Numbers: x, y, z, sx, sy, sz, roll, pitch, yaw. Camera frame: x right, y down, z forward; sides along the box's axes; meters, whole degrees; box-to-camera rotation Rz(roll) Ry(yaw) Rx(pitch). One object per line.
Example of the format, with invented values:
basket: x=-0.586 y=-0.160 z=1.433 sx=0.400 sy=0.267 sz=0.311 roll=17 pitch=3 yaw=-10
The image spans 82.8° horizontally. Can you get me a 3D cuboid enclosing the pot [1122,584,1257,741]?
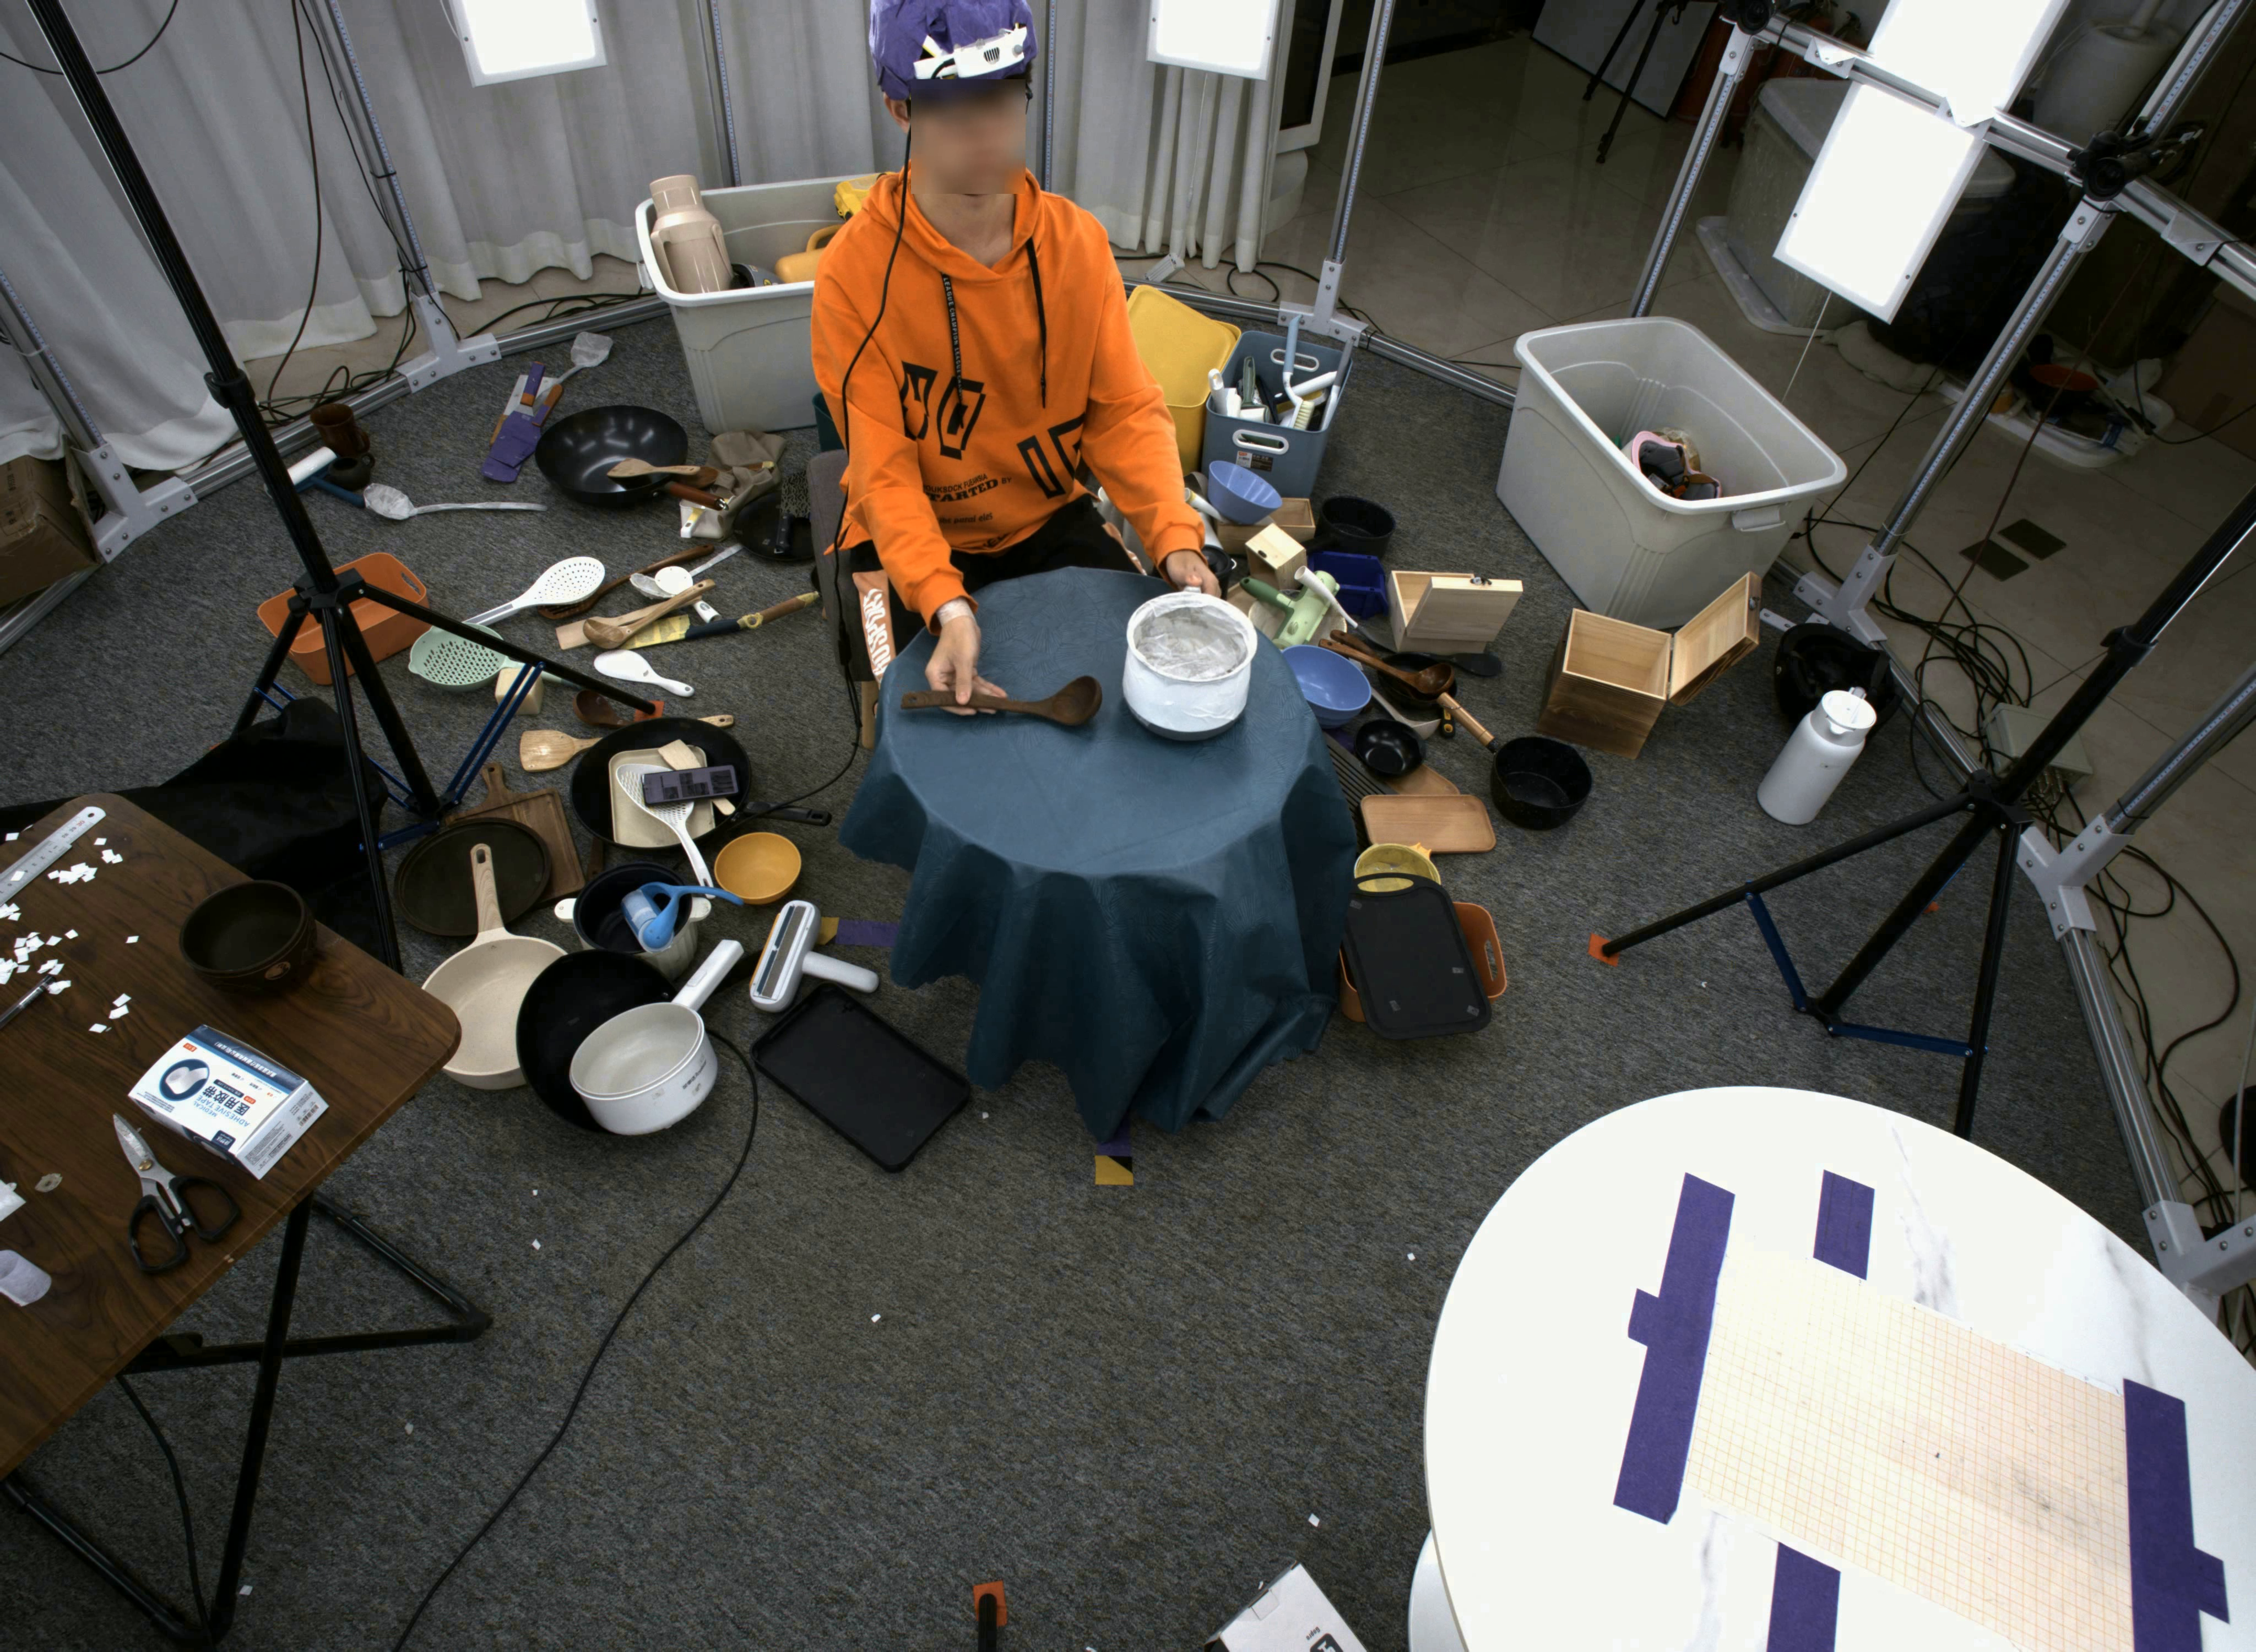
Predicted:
pot: x=0.083 y=-0.238 z=1.792 sx=0.178 sy=0.133 sz=0.239 roll=4 pitch=49 yaw=-2

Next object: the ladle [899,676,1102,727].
ladle: x=-0.174 y=-0.179 z=1.759 sx=0.273 sy=0.070 sz=0.078 roll=4 pitch=52 yaw=-7
